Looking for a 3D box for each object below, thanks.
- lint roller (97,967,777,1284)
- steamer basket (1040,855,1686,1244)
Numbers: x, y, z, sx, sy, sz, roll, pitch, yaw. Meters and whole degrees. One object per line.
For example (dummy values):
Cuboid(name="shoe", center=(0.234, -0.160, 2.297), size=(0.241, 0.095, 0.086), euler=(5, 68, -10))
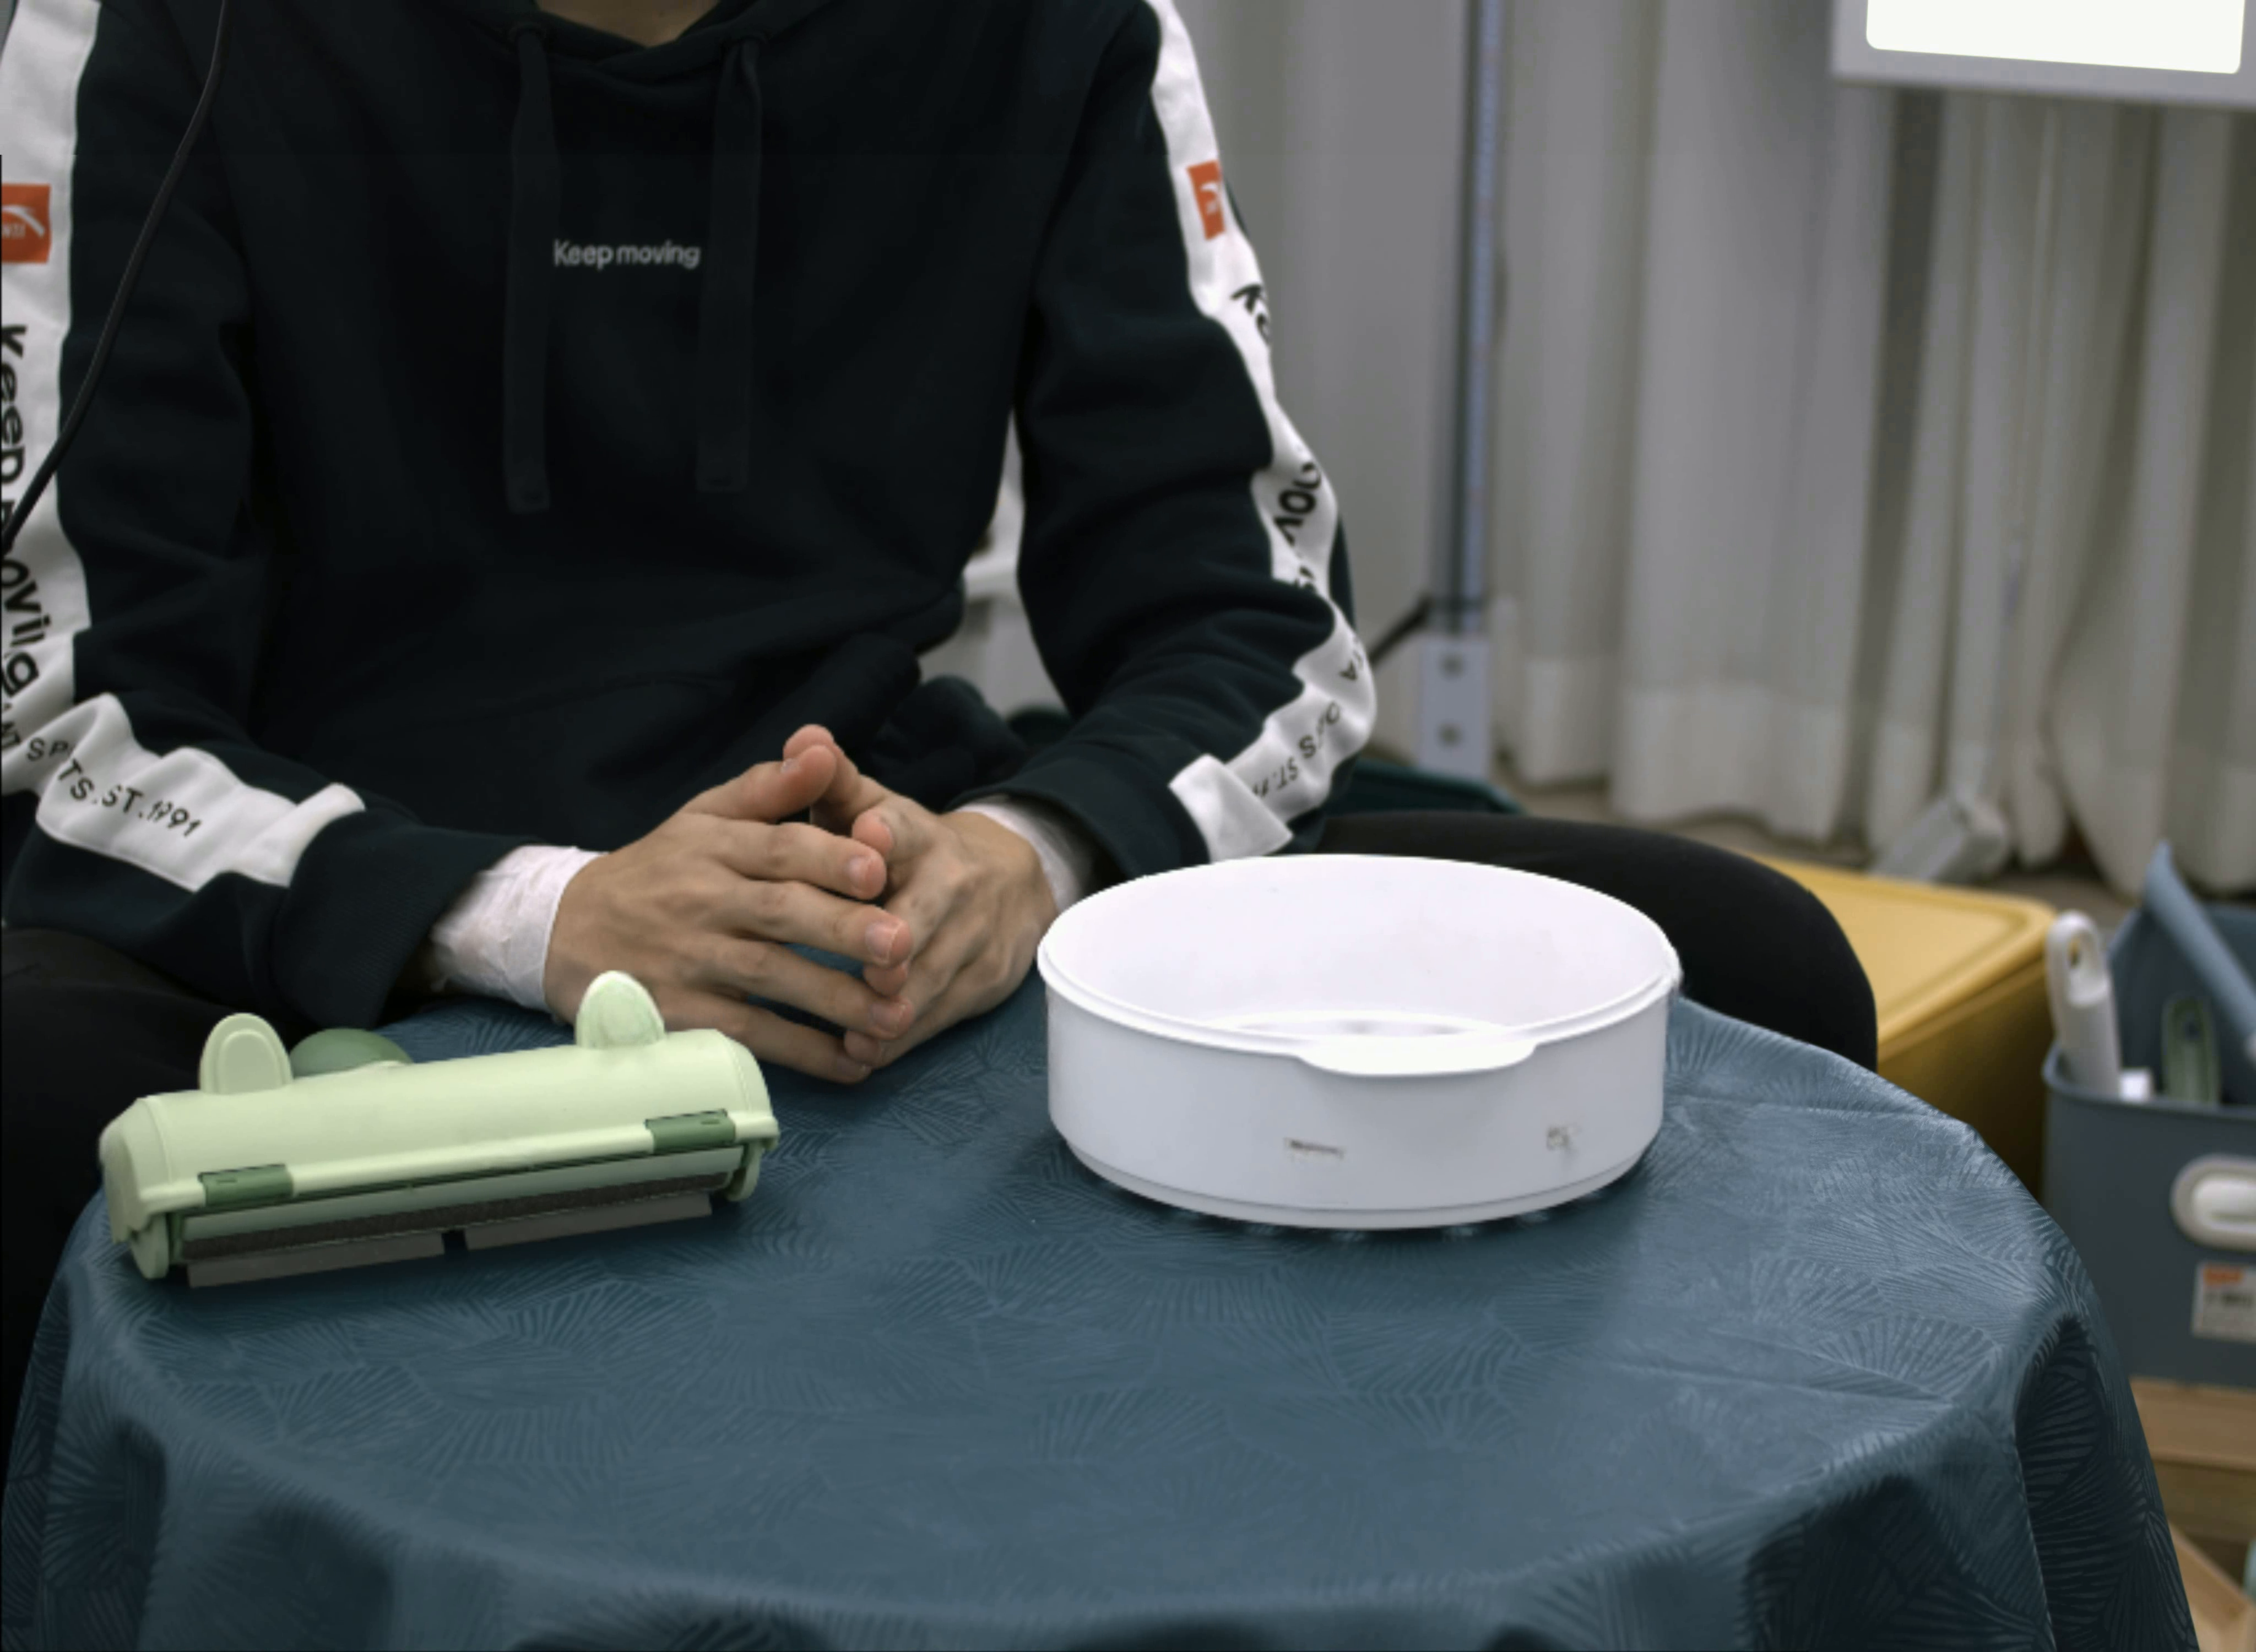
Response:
Cuboid(name="lint roller", center=(-0.226, 0.073, 1.610), size=(0.199, 0.083, 0.181), euler=(-6, 21, -23))
Cuboid(name="steamer basket", center=(0.073, 0.069, 1.648), size=(0.202, 0.070, 0.228), euler=(-3, 17, -9))
